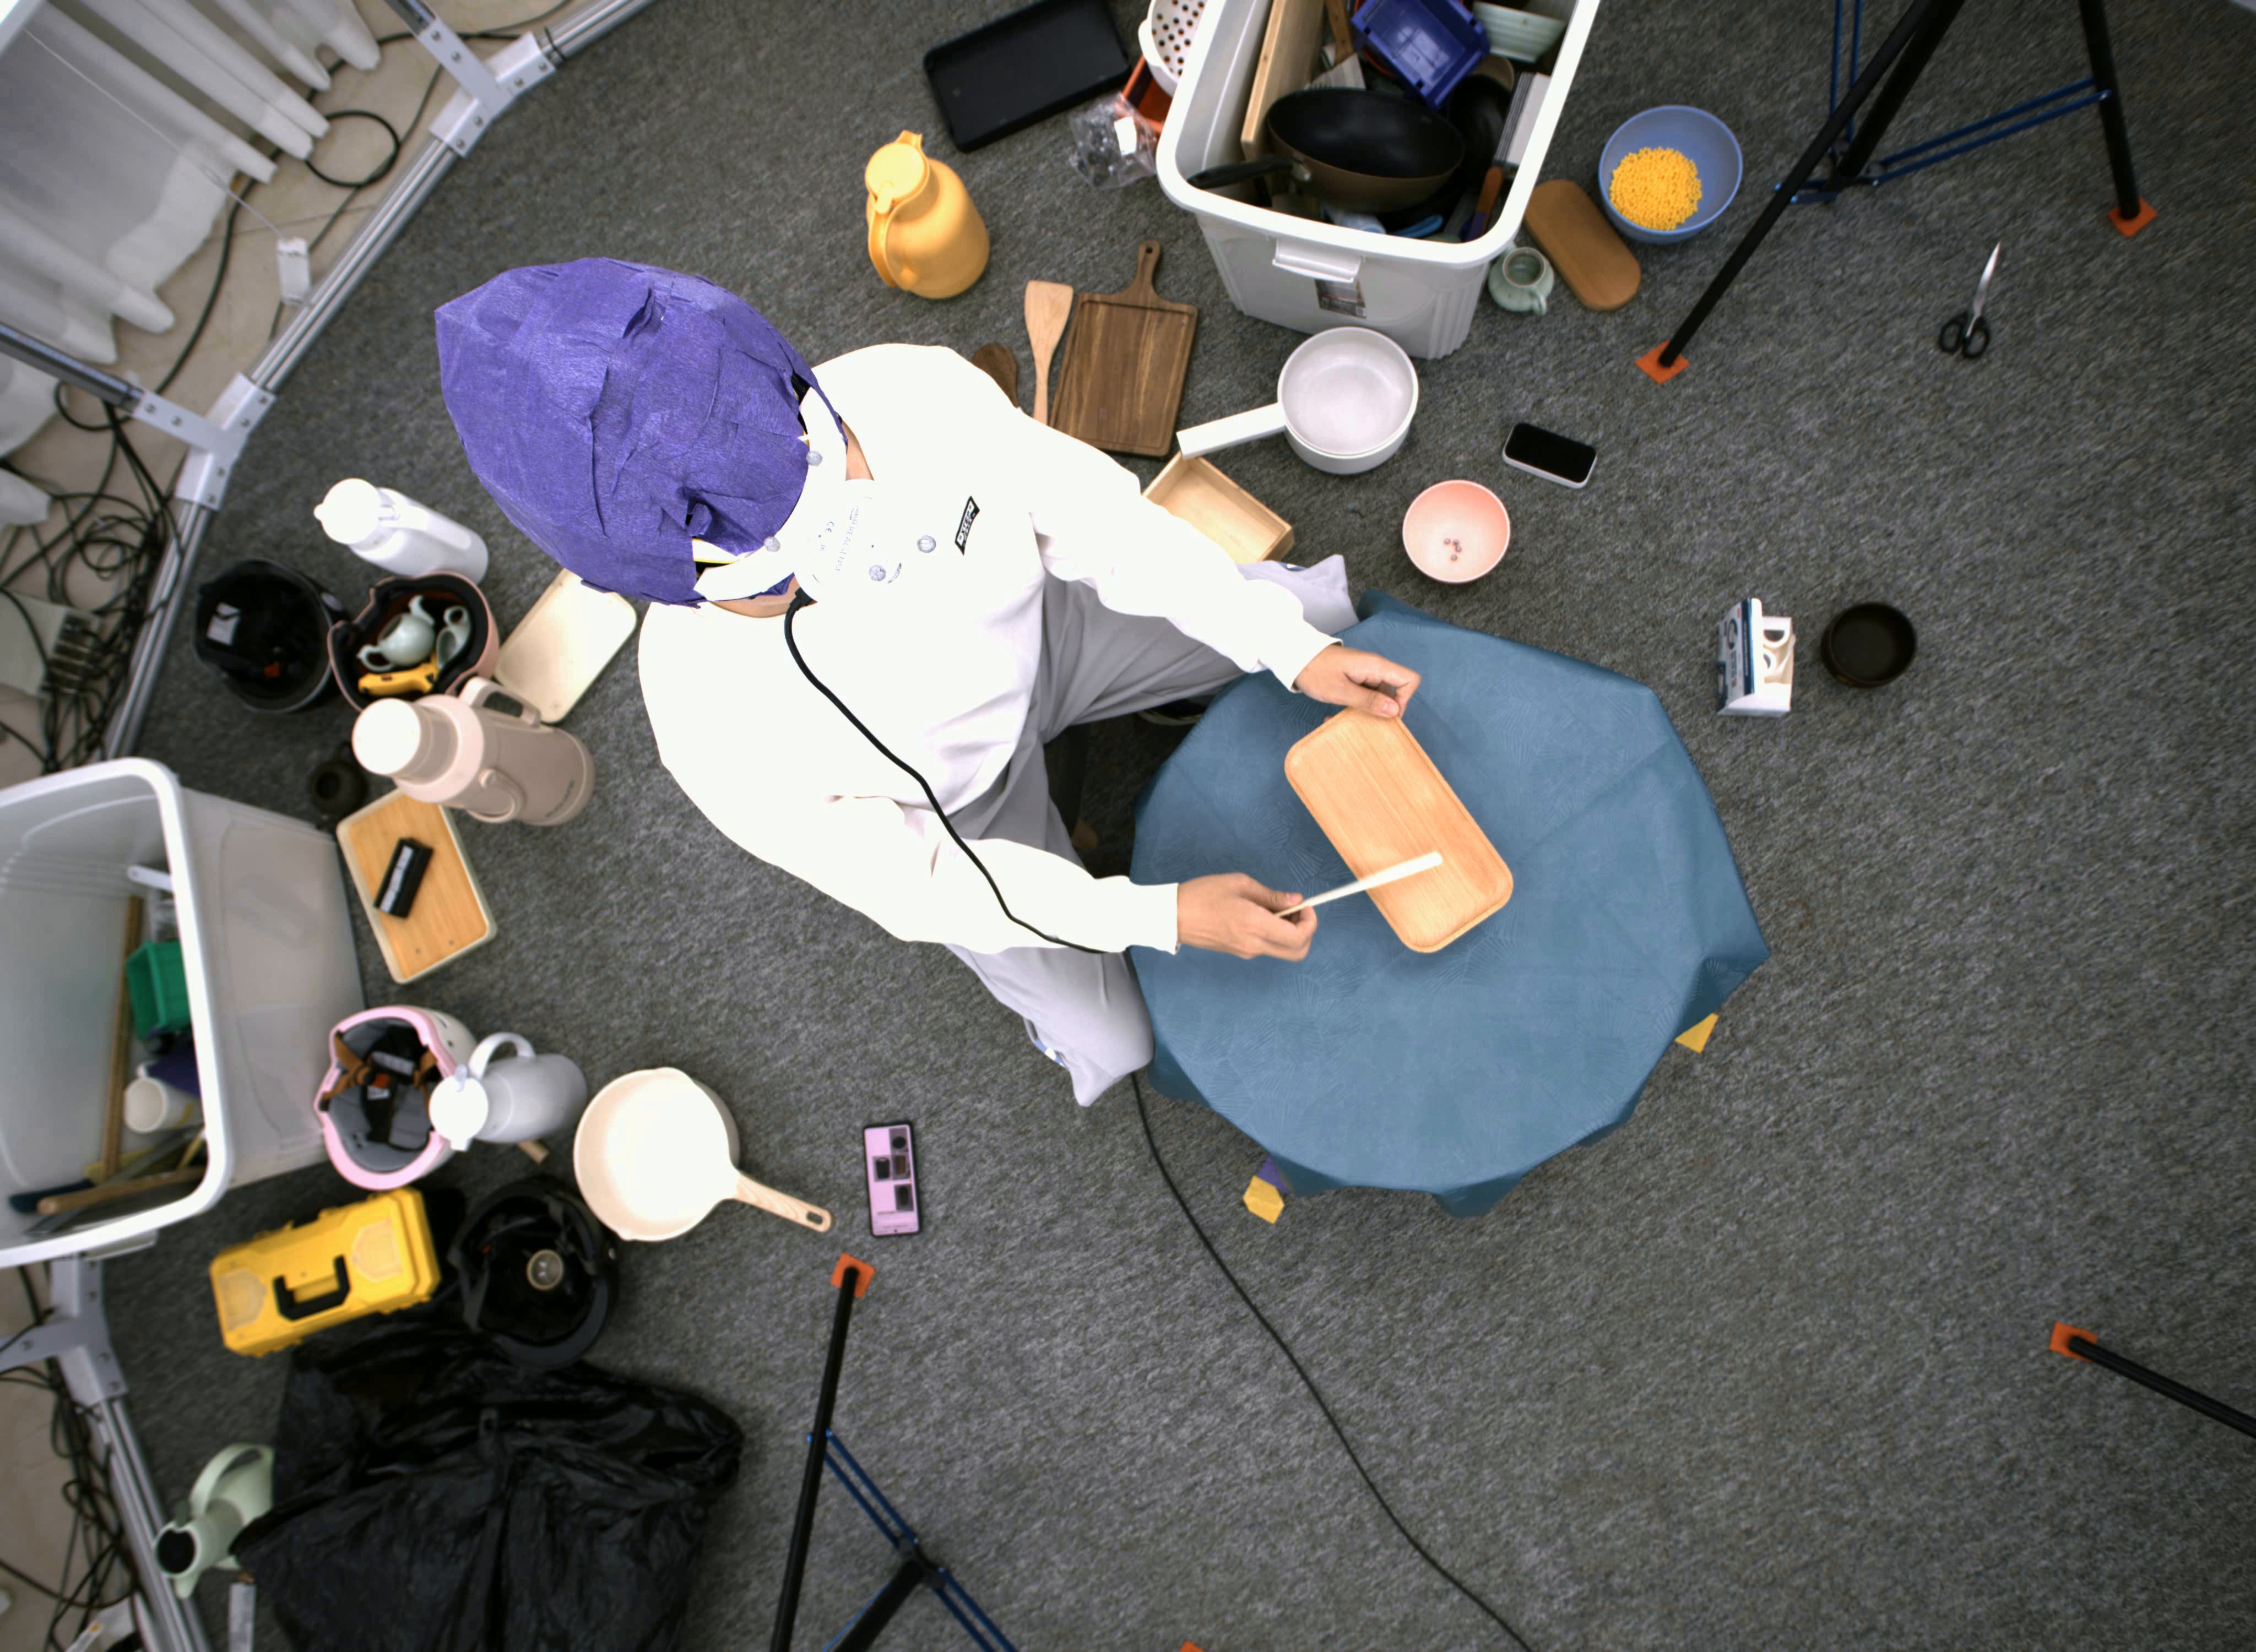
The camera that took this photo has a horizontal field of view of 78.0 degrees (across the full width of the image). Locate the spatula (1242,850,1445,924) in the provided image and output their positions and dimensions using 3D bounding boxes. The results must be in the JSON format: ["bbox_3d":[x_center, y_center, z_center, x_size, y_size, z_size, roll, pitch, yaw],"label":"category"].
[{"bbox_3d":[0.209,0.060,1.354,0.209,0.050,0.005,-20,93,9],"label":"spatula"}]

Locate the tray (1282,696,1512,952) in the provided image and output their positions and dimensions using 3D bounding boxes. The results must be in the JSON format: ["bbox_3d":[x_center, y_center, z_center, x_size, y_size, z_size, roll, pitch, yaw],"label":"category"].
[{"bbox_3d":[0.267,-0.004,1.375,0.131,0.023,0.250,-35,85,6],"label":"tray"}]
